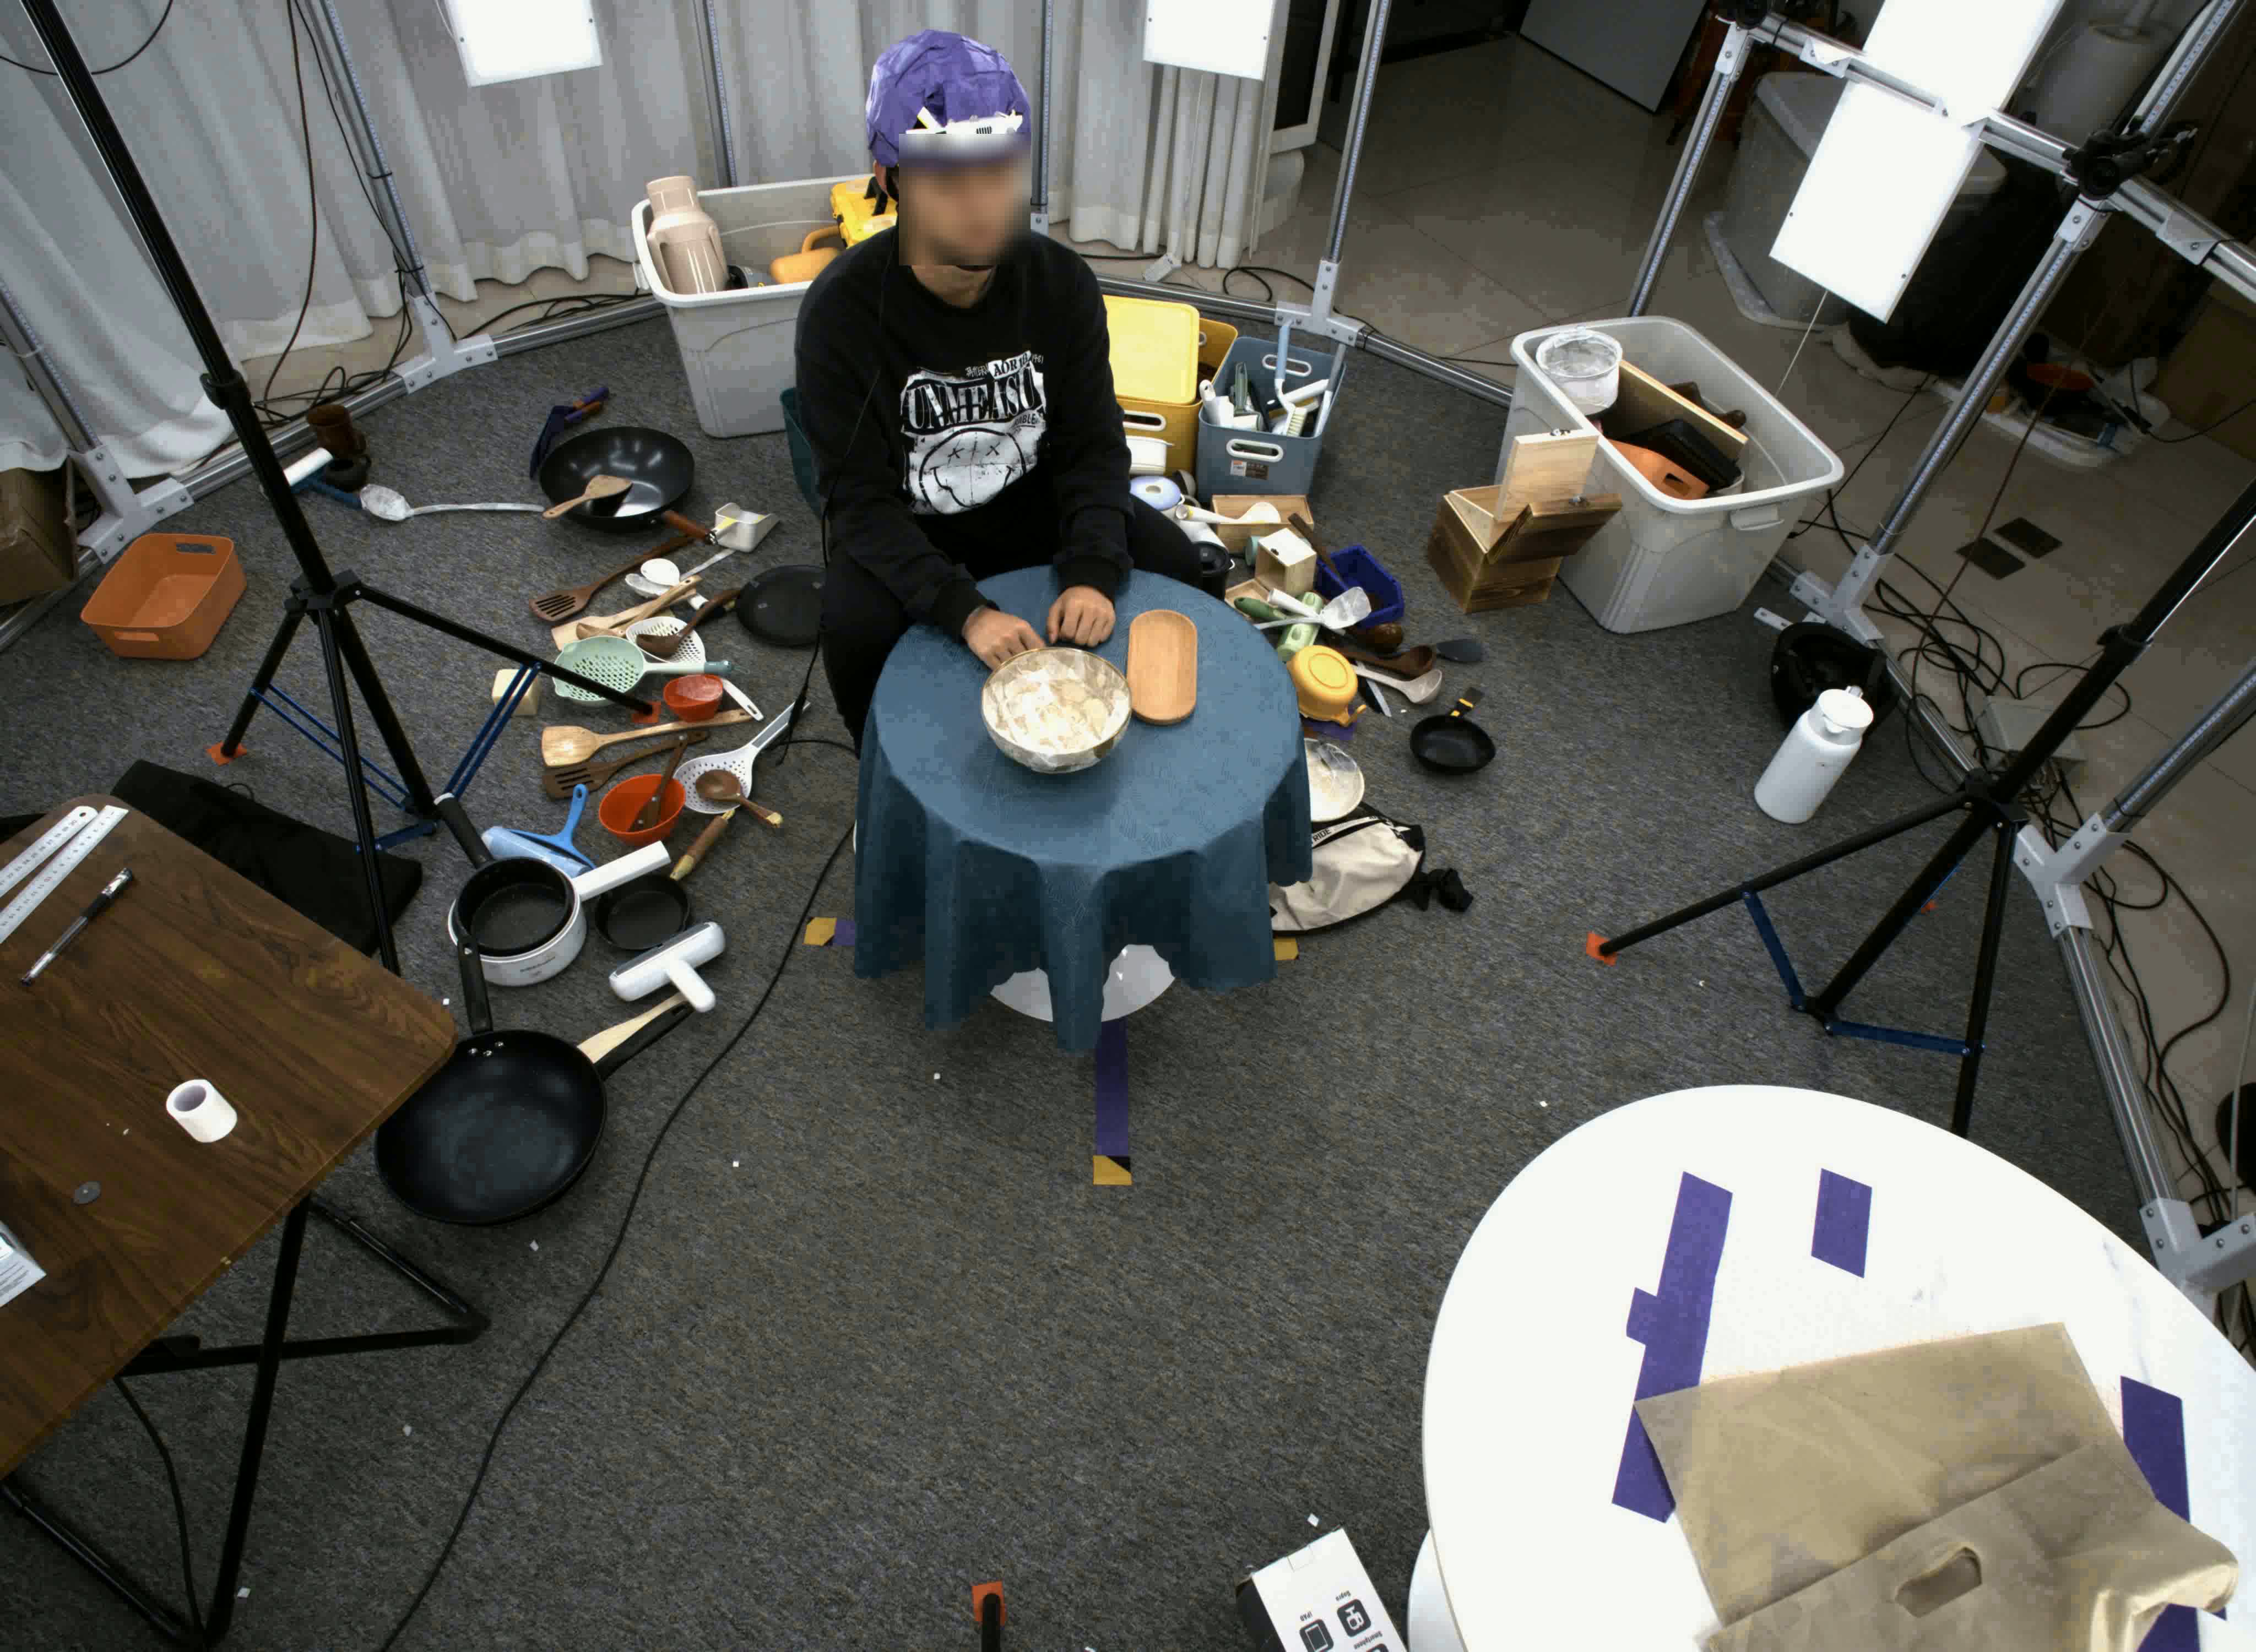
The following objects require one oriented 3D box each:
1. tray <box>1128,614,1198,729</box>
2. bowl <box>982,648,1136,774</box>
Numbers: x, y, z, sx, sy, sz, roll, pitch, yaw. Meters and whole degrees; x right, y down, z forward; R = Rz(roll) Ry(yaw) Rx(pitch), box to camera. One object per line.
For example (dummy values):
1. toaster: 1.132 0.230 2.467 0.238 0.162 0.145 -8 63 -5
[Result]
1. tray: 0.052 -0.229 1.877 0.101 0.020 0.237 2 50 1
2. bowl: -0.091 -0.143 1.741 0.214 0.092 0.220 1 49 -1
